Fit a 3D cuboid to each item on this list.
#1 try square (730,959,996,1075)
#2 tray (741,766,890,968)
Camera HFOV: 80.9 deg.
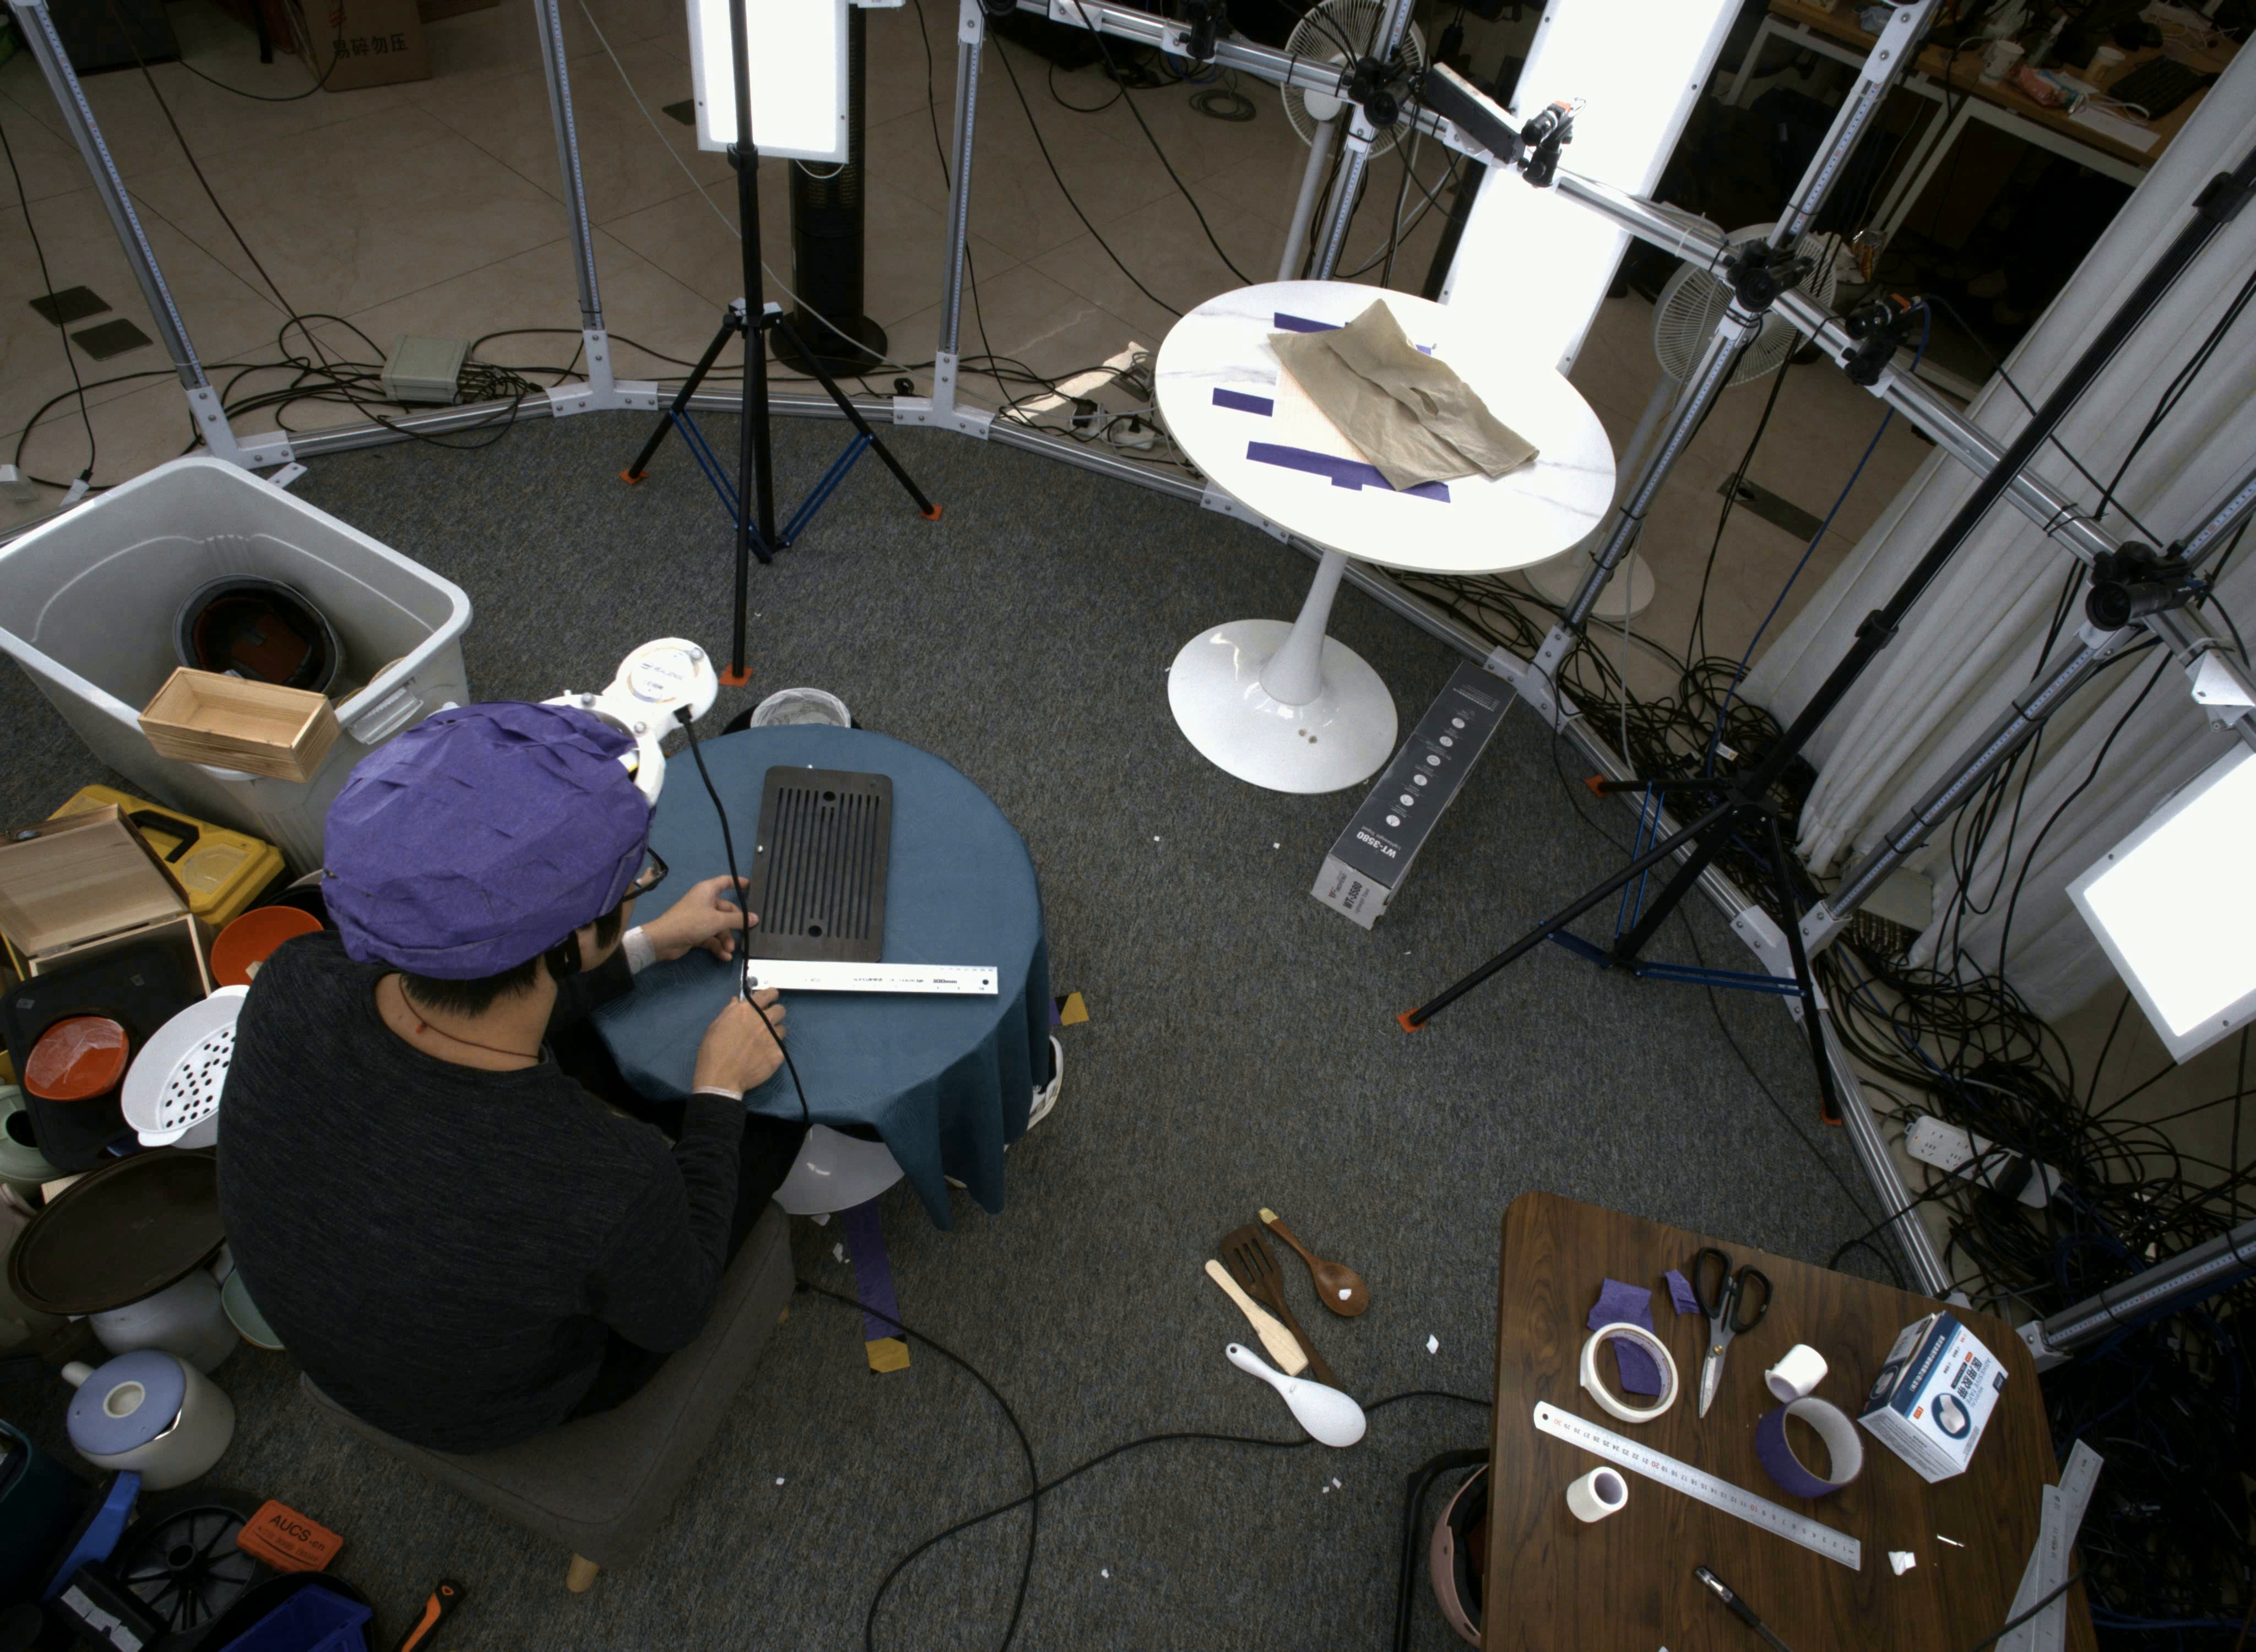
[{"bbox_3d":[-0.311,0.225,1.557,0.313,0.016,0.149,3,53,-14],"label":"try square"},{"bbox_3d":[-0.399,0.048,1.675,0.170,0.019,0.300,5,53,-14],"label":"tray"}]
